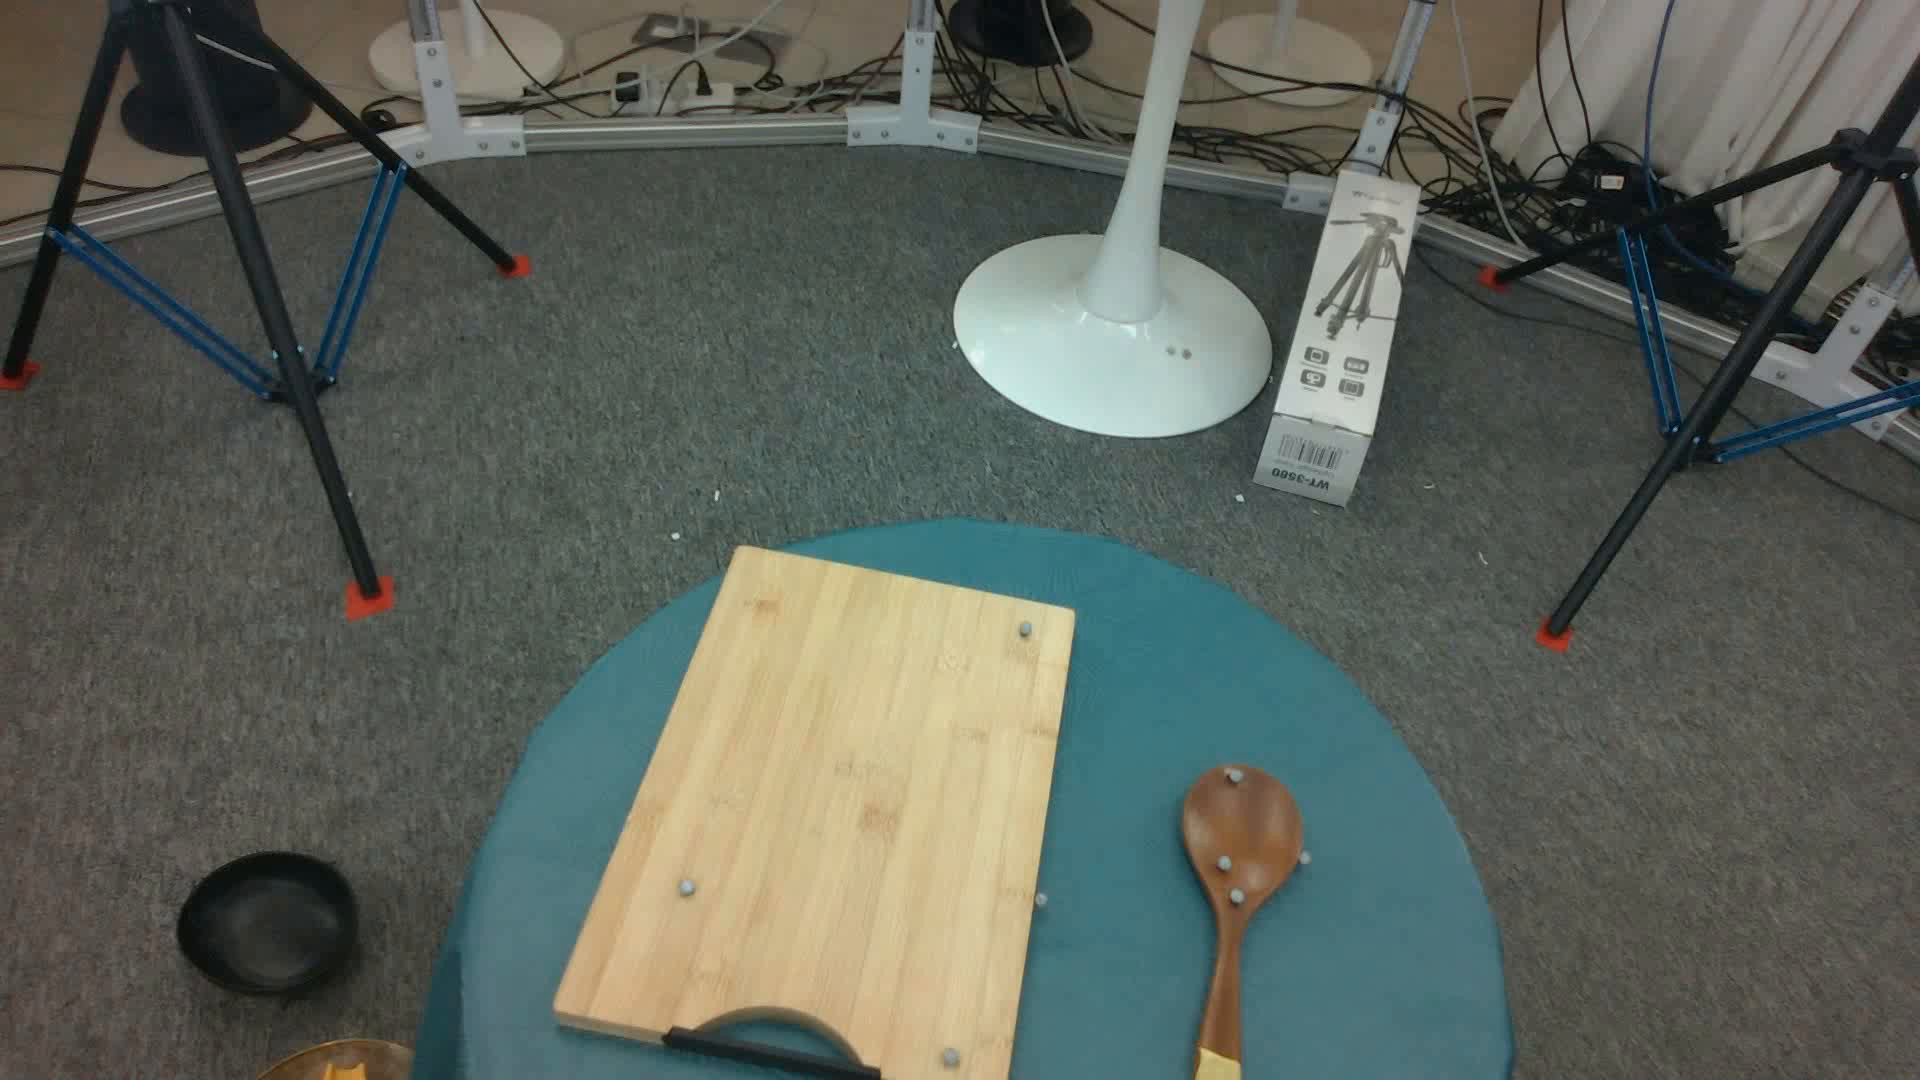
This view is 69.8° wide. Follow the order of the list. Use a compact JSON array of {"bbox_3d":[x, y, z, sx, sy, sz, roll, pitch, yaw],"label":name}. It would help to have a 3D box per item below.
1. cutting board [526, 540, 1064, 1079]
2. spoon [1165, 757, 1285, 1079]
[{"bbox_3d":[-0.077,0.151,0.830,0.251,0.023,0.350,10,46,2],"label":"cutting board"},{"bbox_3d":[0.148,0.217,0.801,0.075,0.017,0.217,15,46,3],"label":"spoon"}]
